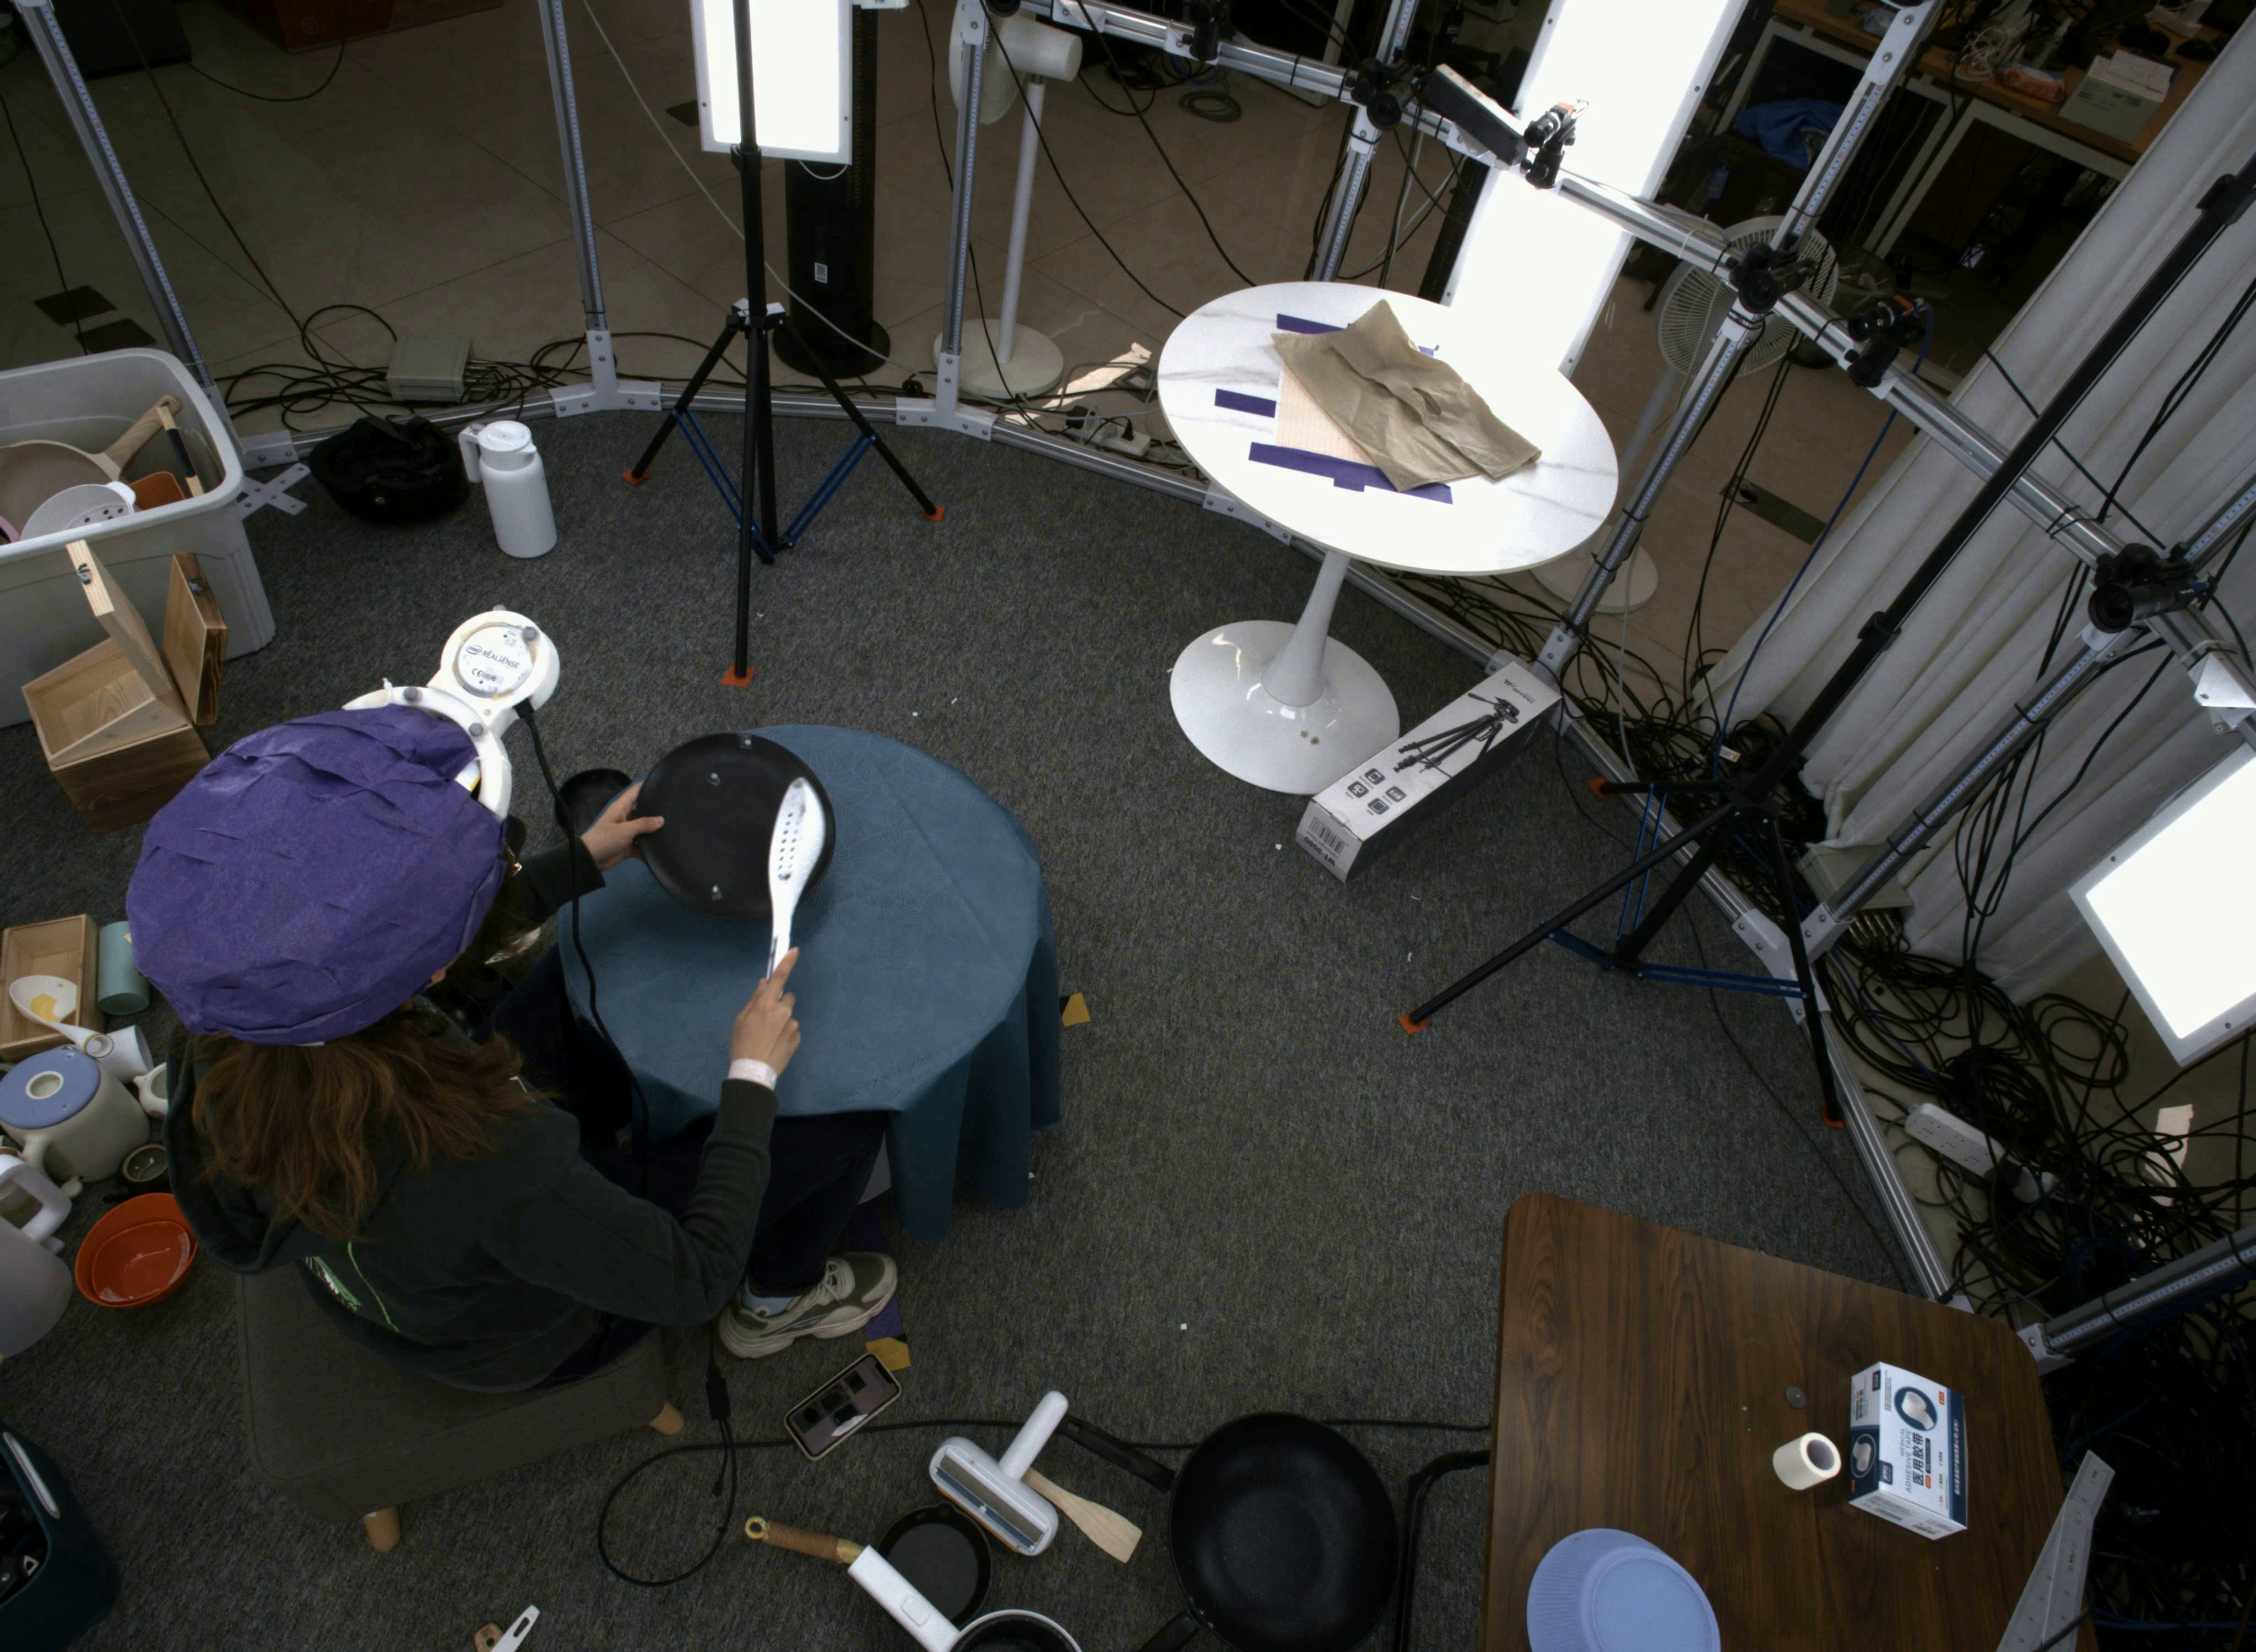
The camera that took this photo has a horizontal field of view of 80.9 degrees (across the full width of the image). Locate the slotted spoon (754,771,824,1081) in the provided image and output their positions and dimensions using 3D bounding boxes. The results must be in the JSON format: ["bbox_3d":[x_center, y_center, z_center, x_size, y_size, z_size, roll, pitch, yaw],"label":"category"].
[{"bbox_3d":[-0.391,0.108,1.466,0.046,0.134,0.348,17,69,-25],"label":"slotted spoon"}]

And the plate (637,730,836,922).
[{"bbox_3d":[-0.481,-0.001,1.588,0.248,0.023,0.243,12,69,-28],"label":"plate"}]
